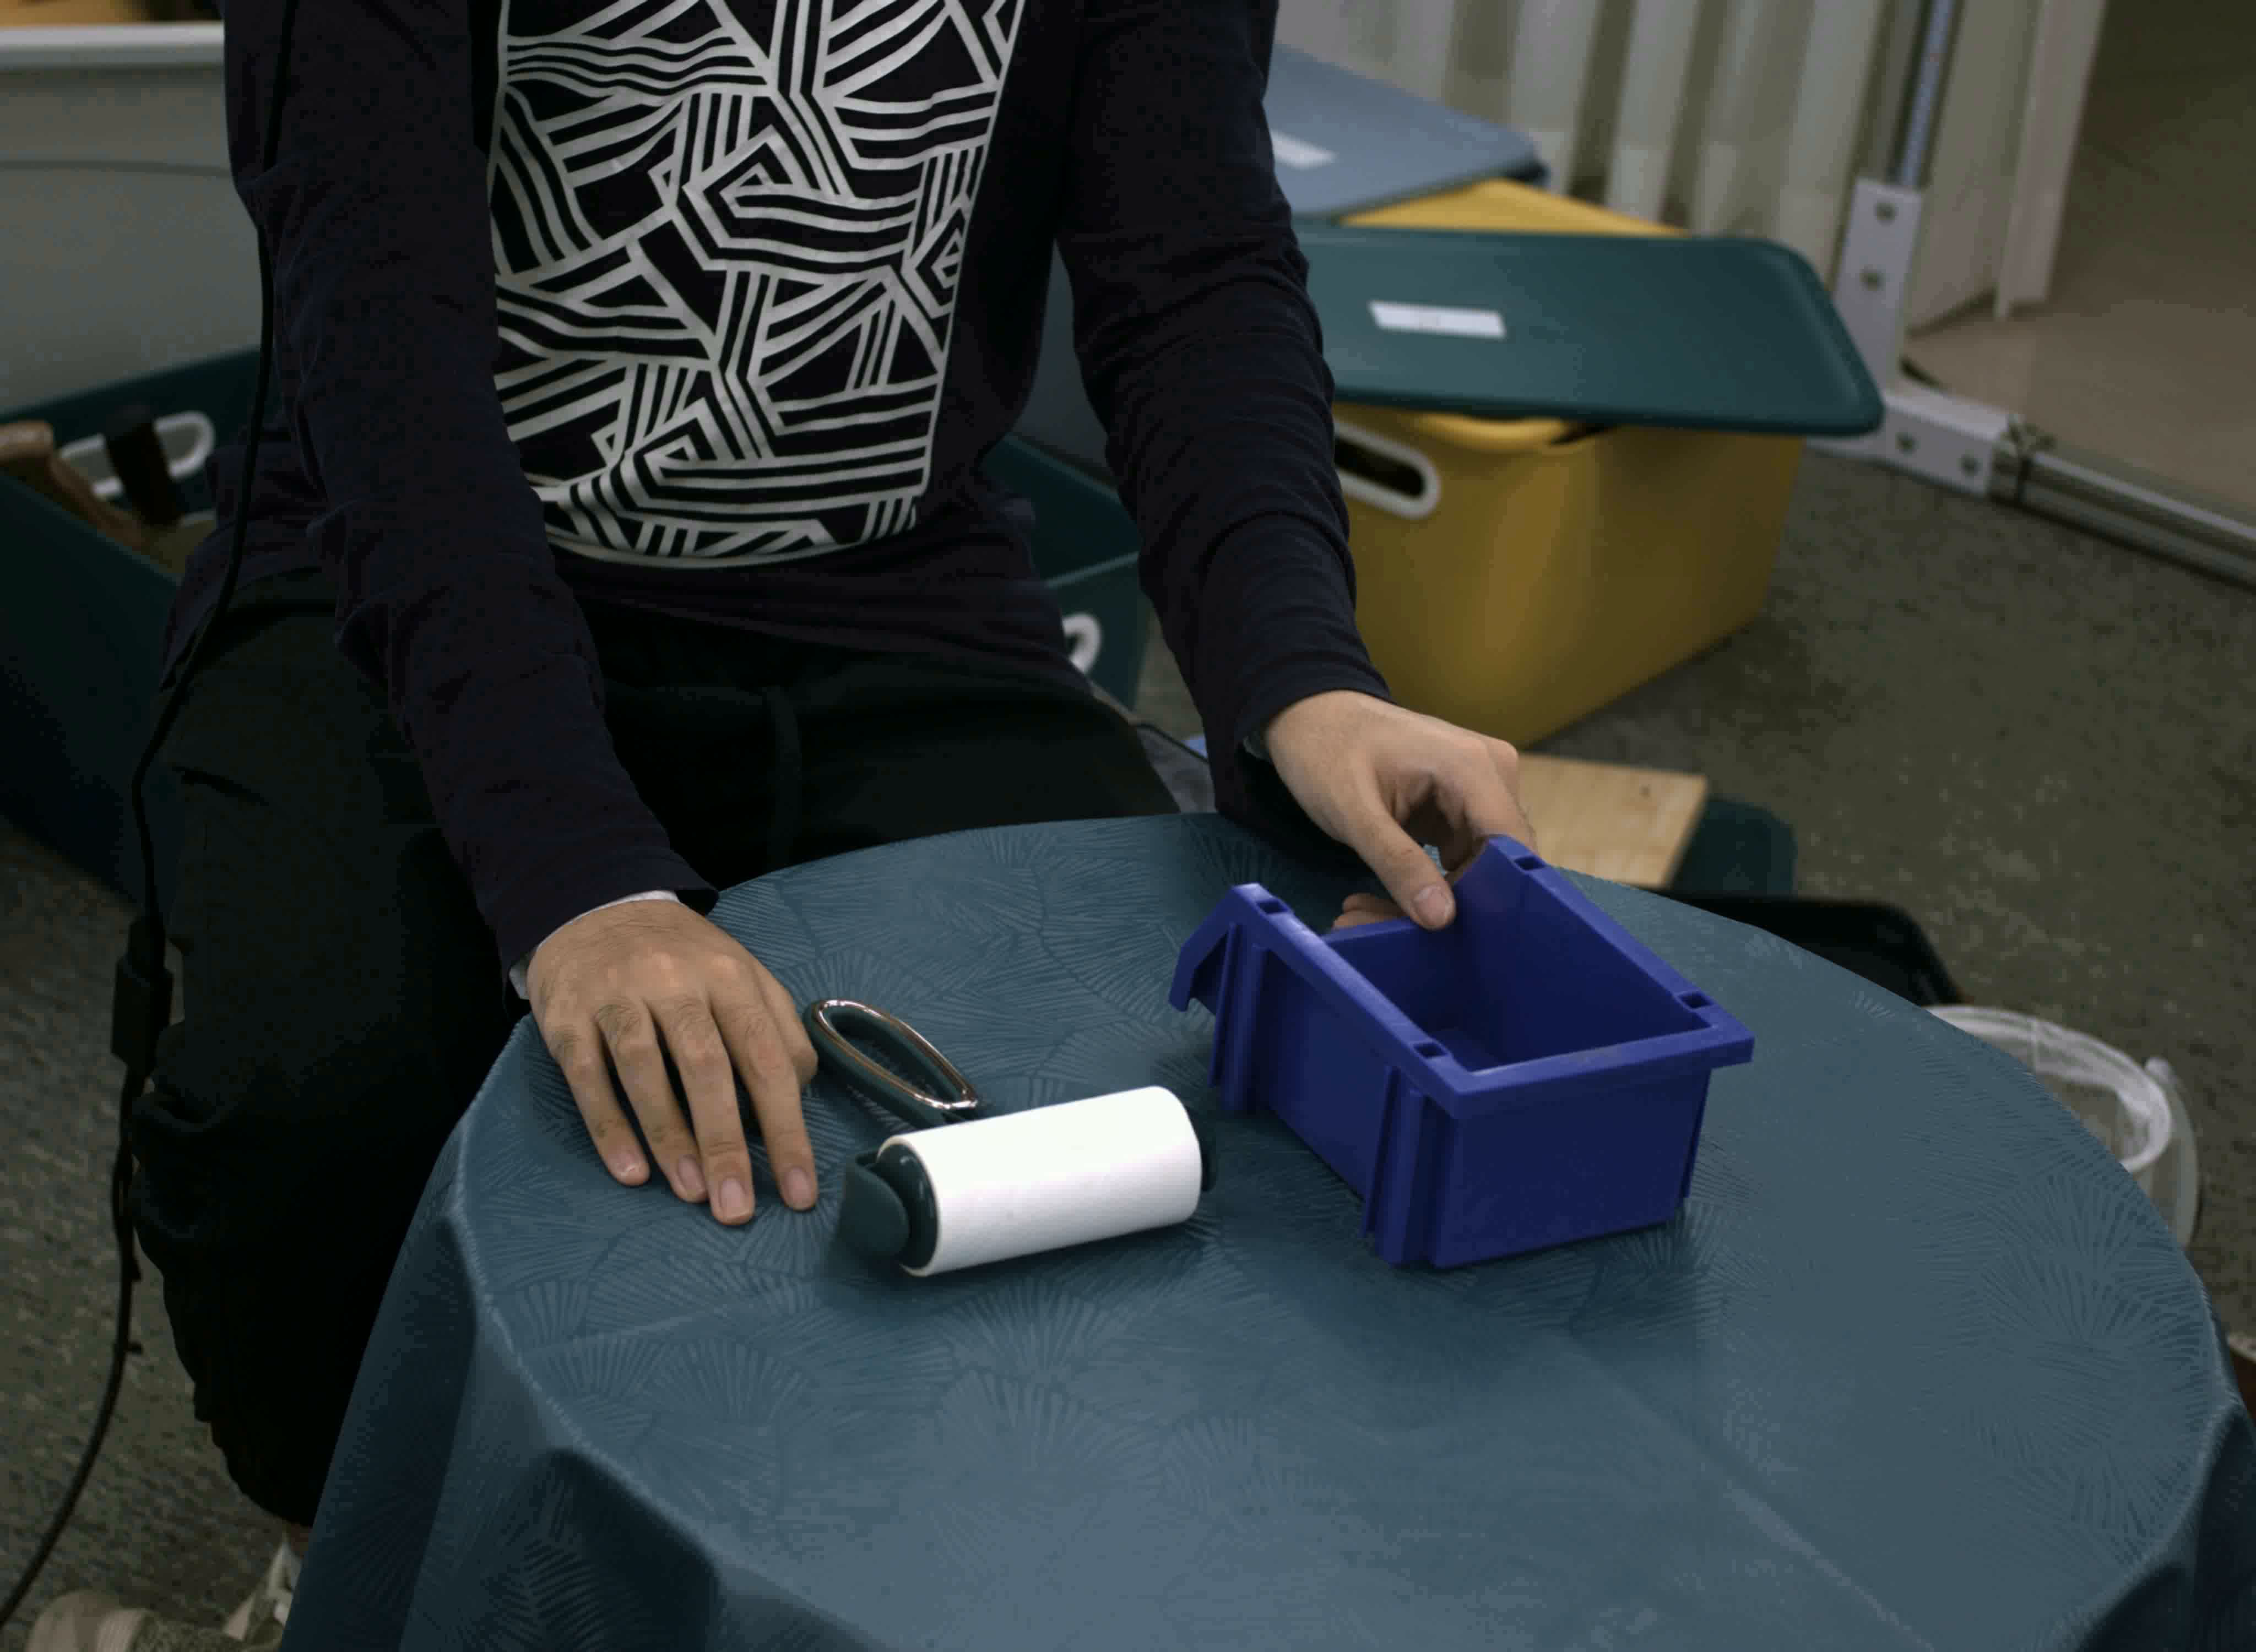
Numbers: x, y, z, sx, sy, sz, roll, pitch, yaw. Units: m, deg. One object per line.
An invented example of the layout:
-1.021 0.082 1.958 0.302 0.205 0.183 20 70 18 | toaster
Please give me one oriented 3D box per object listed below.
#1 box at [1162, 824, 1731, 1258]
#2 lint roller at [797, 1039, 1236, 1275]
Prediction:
0.105 0.070 1.846 0.124 0.081 0.181 -9 33 -26 | box
-0.064 0.092 1.813 0.133 0.048 0.181 -10 26 -28 | lint roller
